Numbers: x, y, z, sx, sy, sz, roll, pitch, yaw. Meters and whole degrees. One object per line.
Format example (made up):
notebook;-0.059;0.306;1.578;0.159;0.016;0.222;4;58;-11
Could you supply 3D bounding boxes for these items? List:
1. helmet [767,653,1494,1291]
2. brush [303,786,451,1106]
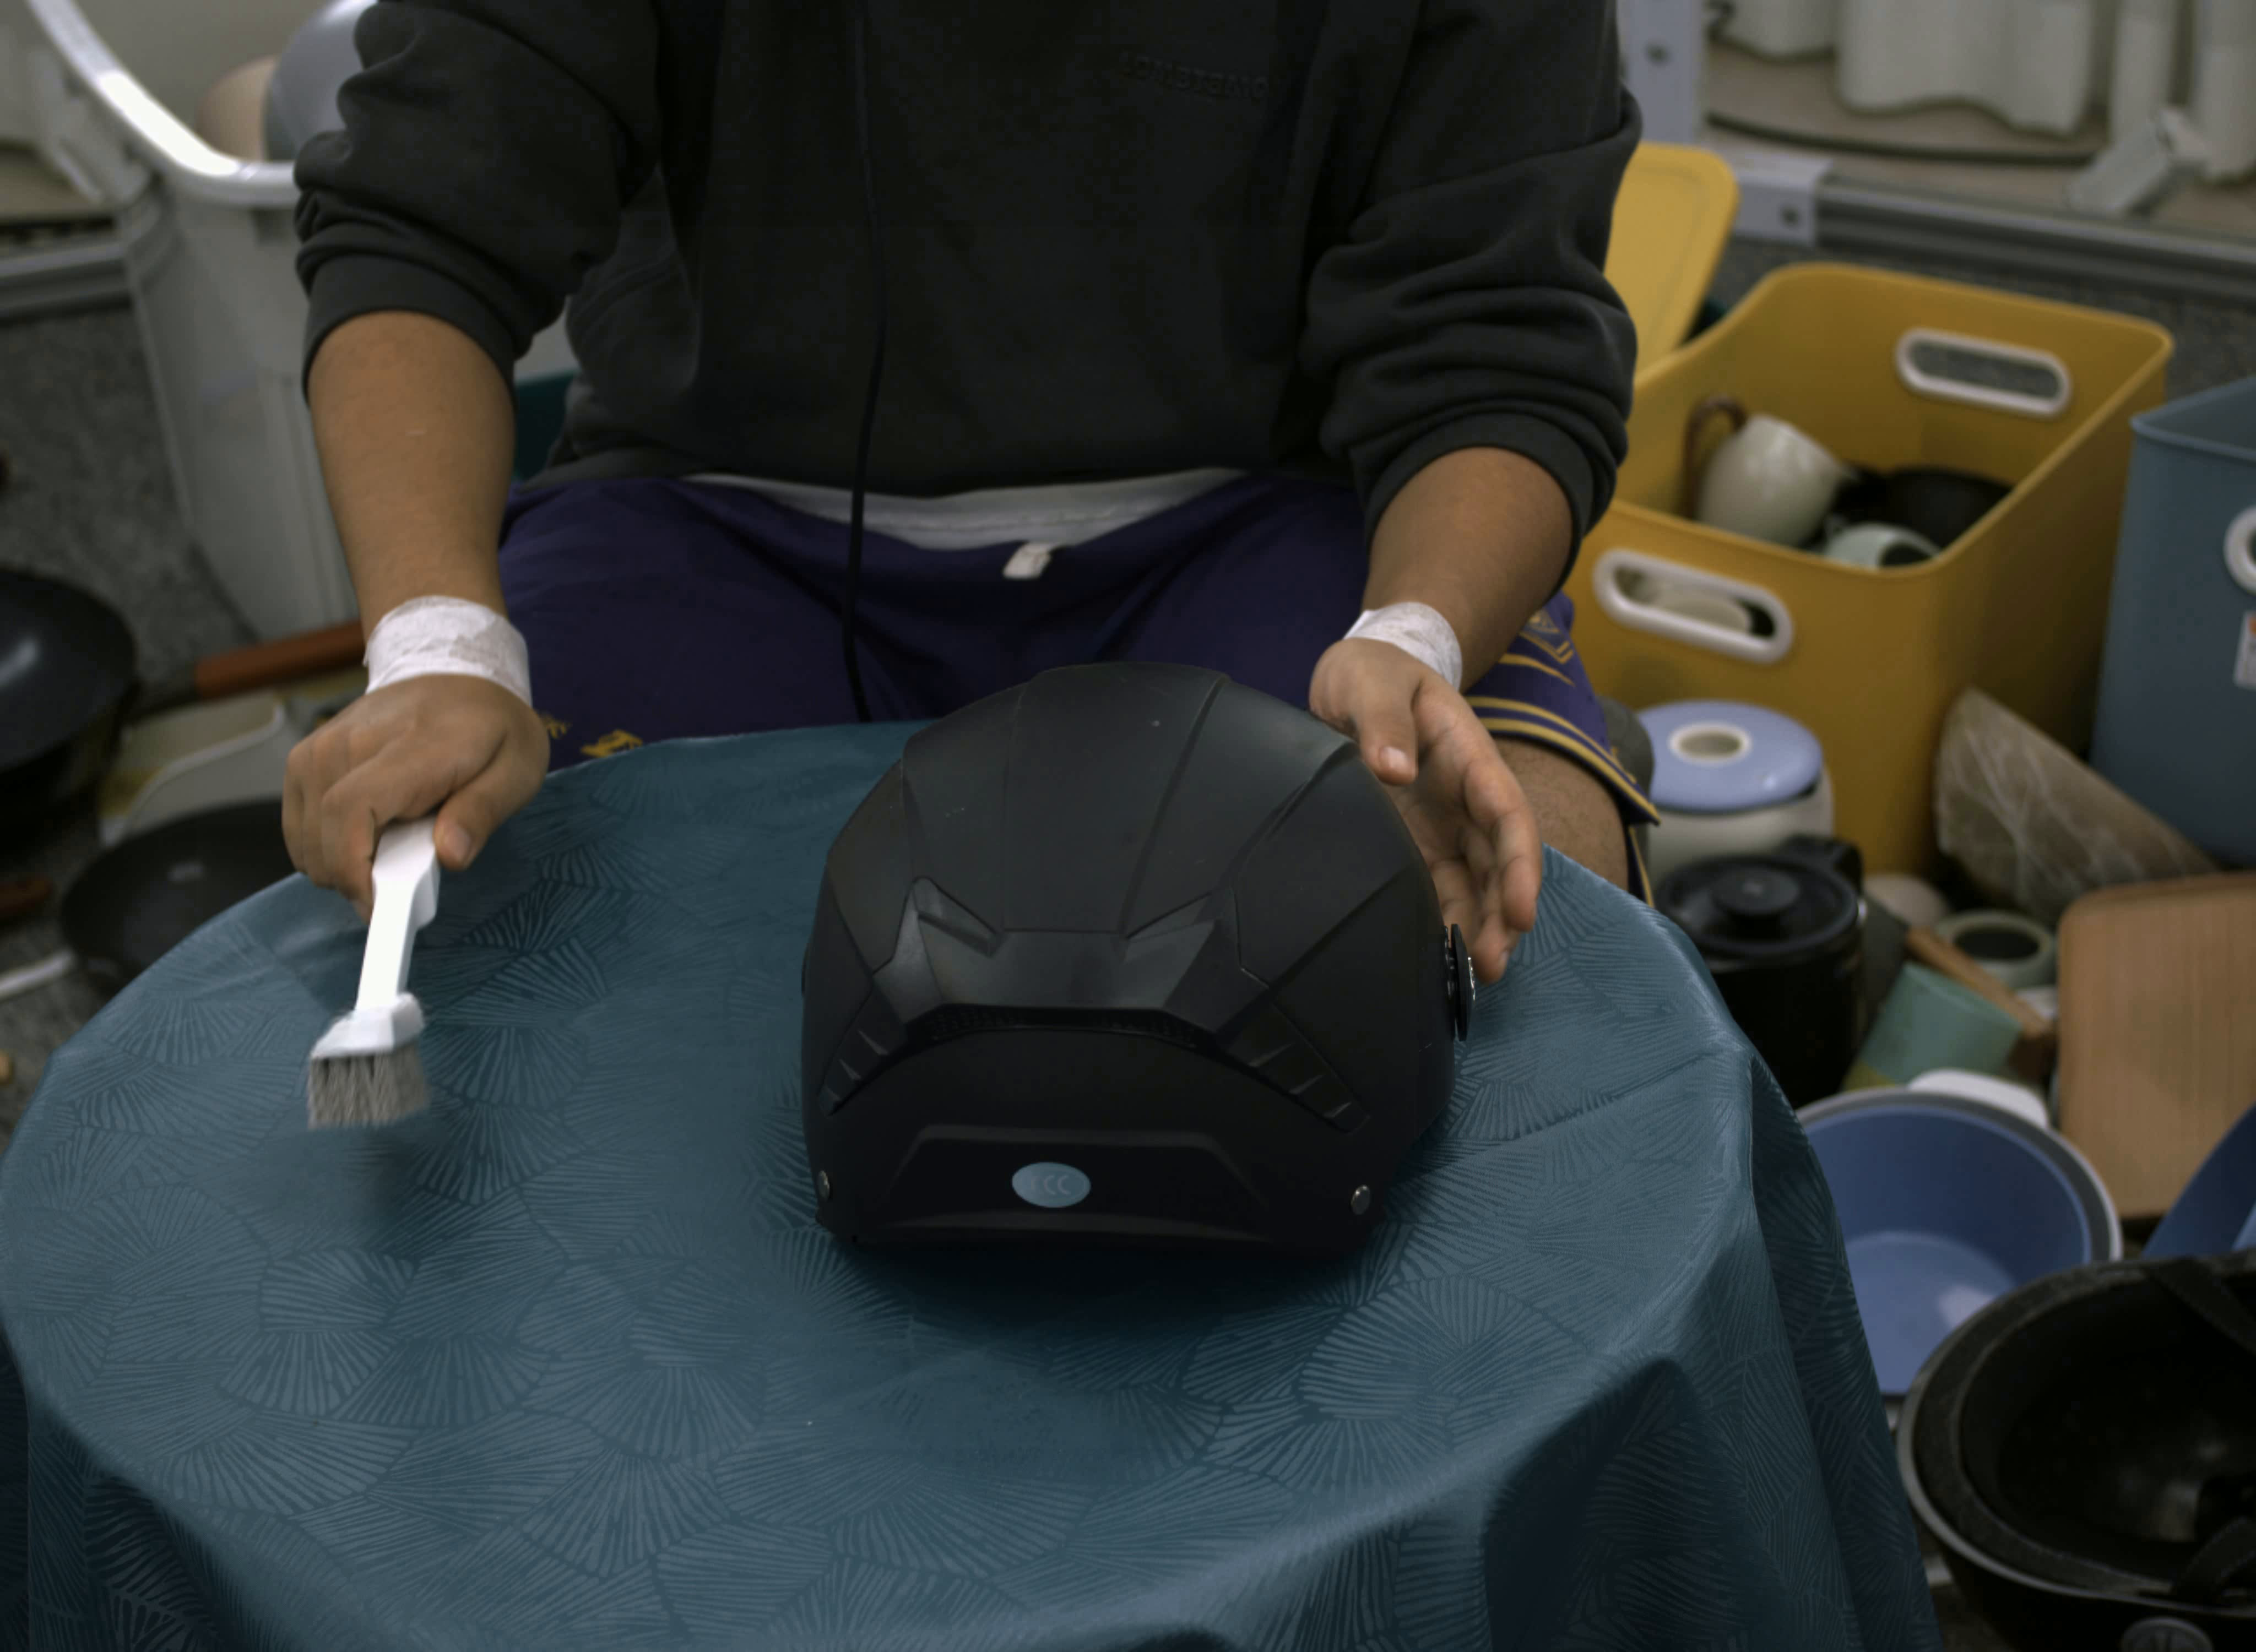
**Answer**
helmet;0.001;0.032;1.864;0.245;0.170;0.281;2;29;10
brush;-0.254;0.044;1.953;0.034;0.050;0.246;-9;18;2
